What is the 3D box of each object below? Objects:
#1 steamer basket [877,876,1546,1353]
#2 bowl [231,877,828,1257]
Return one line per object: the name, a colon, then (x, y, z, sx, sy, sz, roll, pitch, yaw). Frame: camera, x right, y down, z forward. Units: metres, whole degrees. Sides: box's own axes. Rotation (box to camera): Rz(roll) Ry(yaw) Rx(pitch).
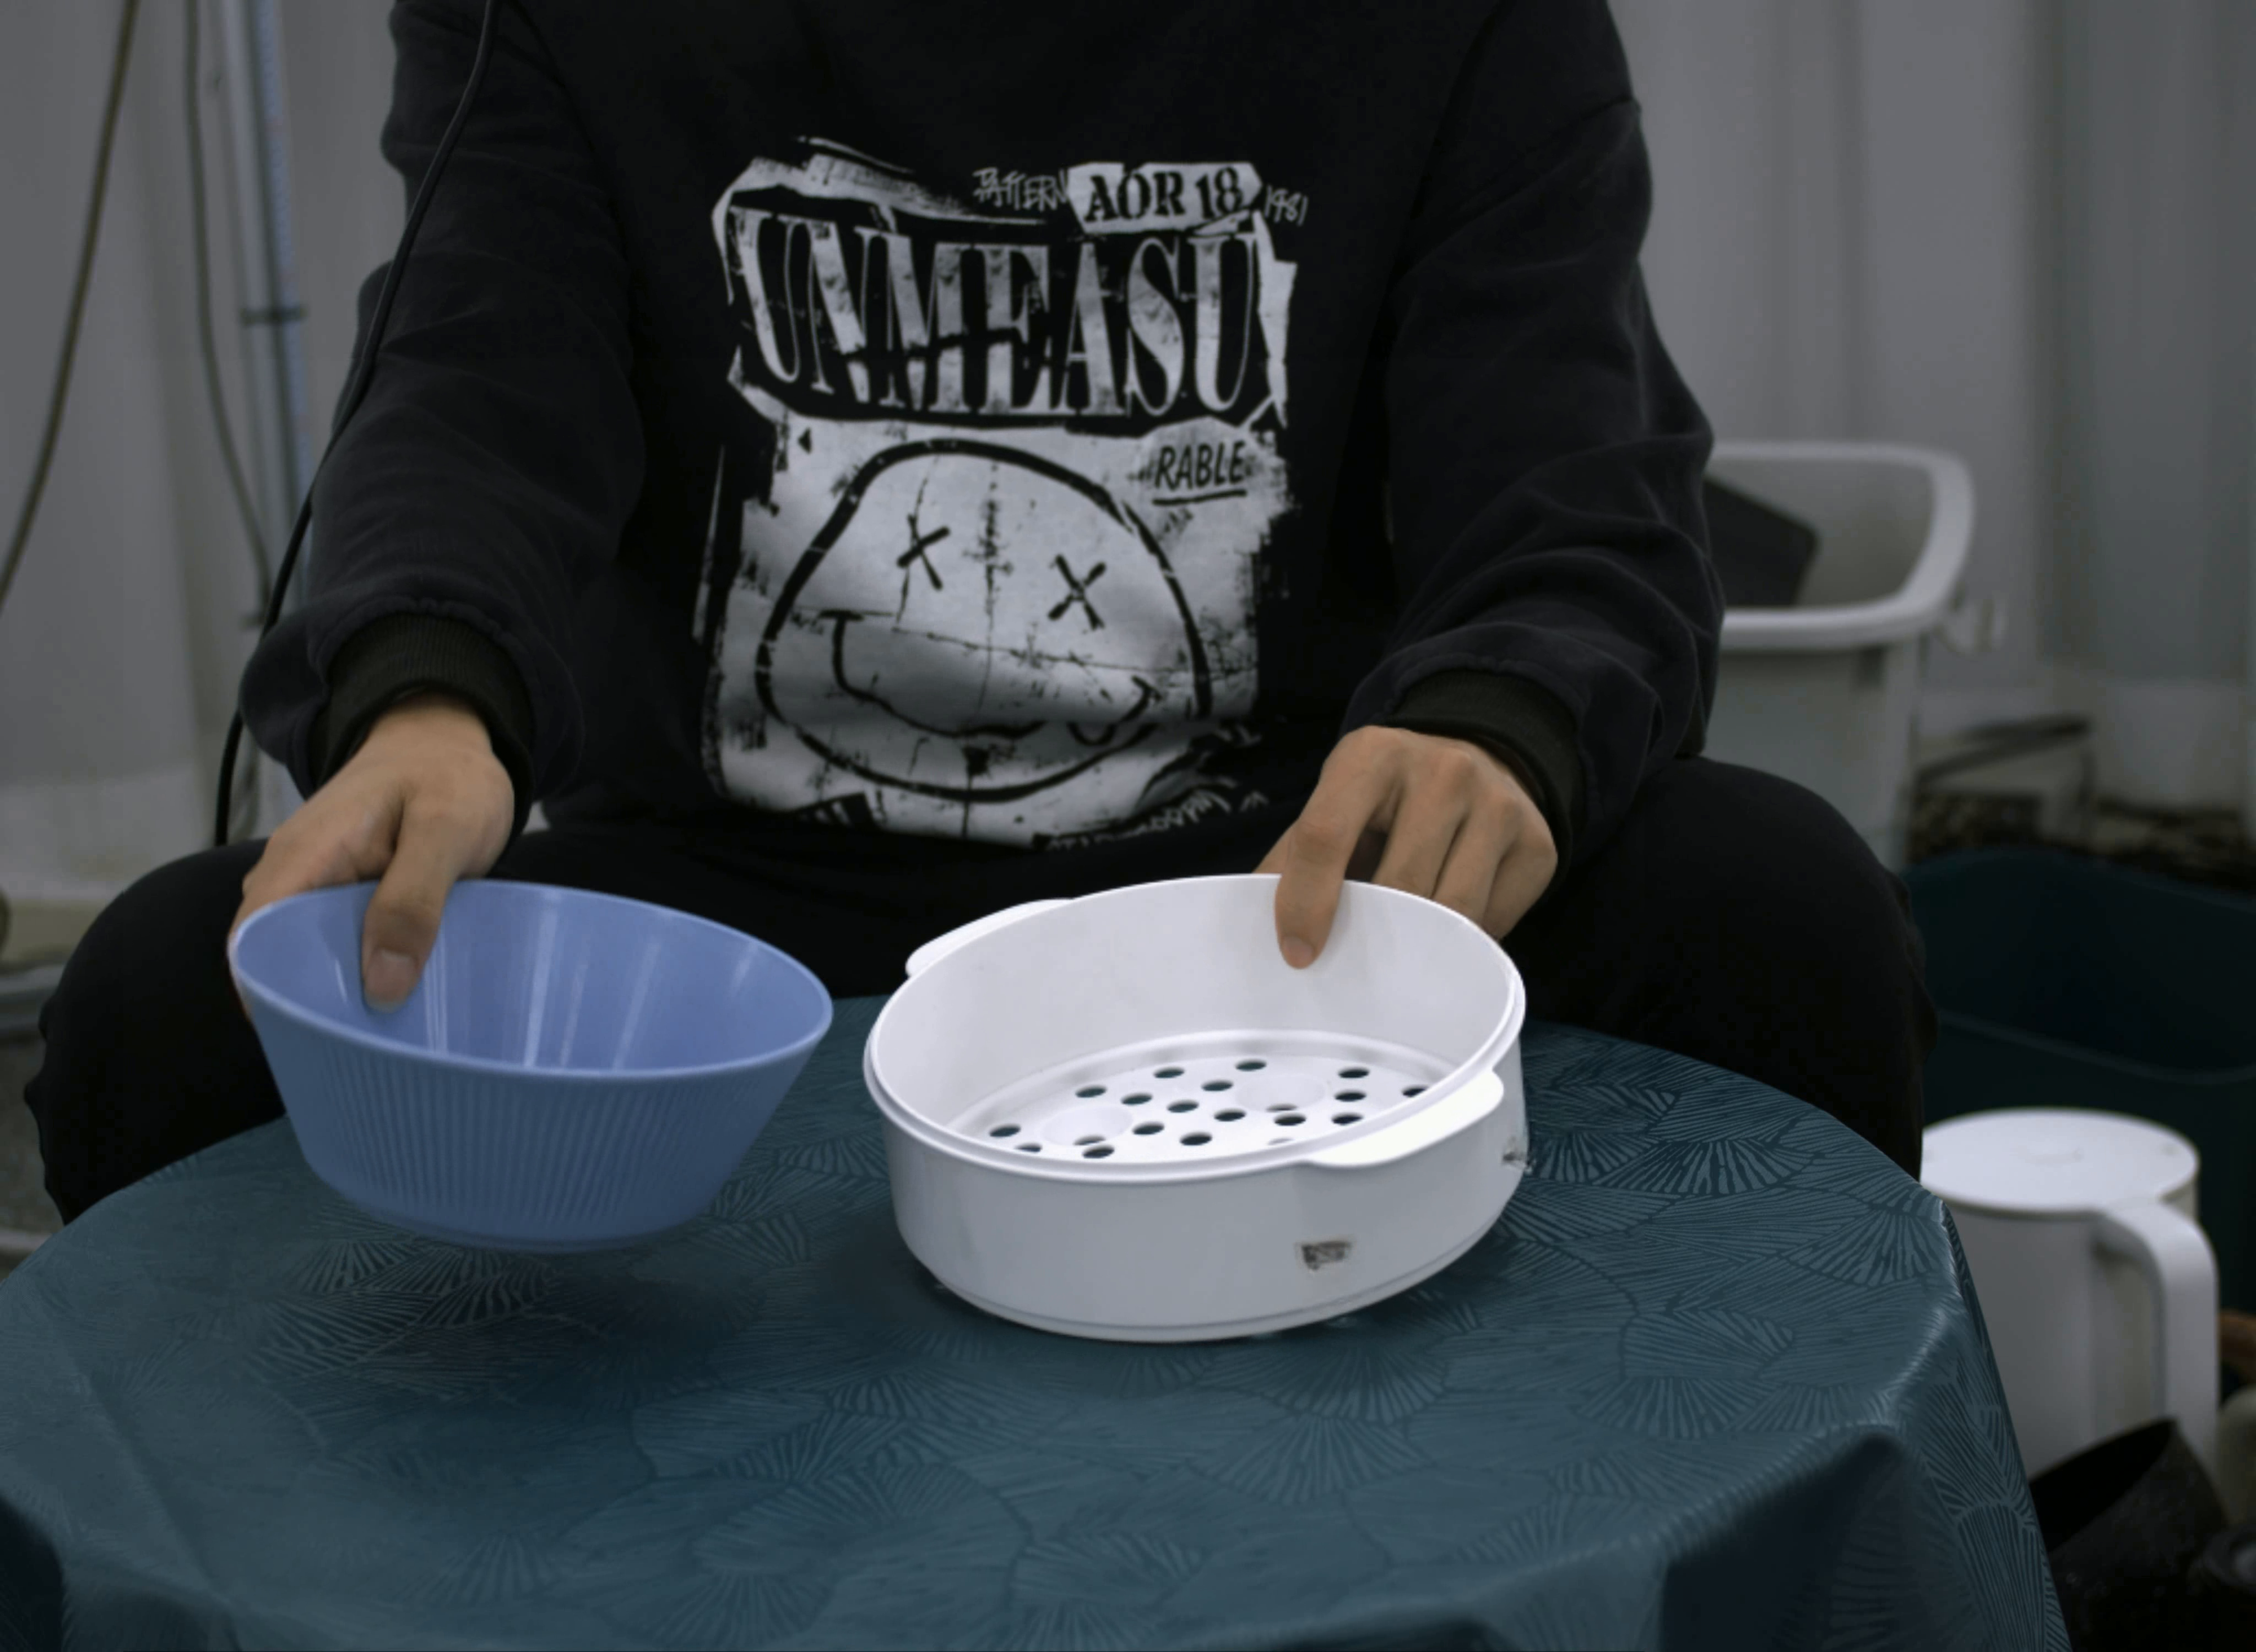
steamer basket: (0.027, 0.087, 1.646, 0.202, 0.068, 0.232, -23, 30, -33)
bowl: (-0.178, 0.074, 1.605, 0.175, 0.070, 0.177, 7, 17, -2)
